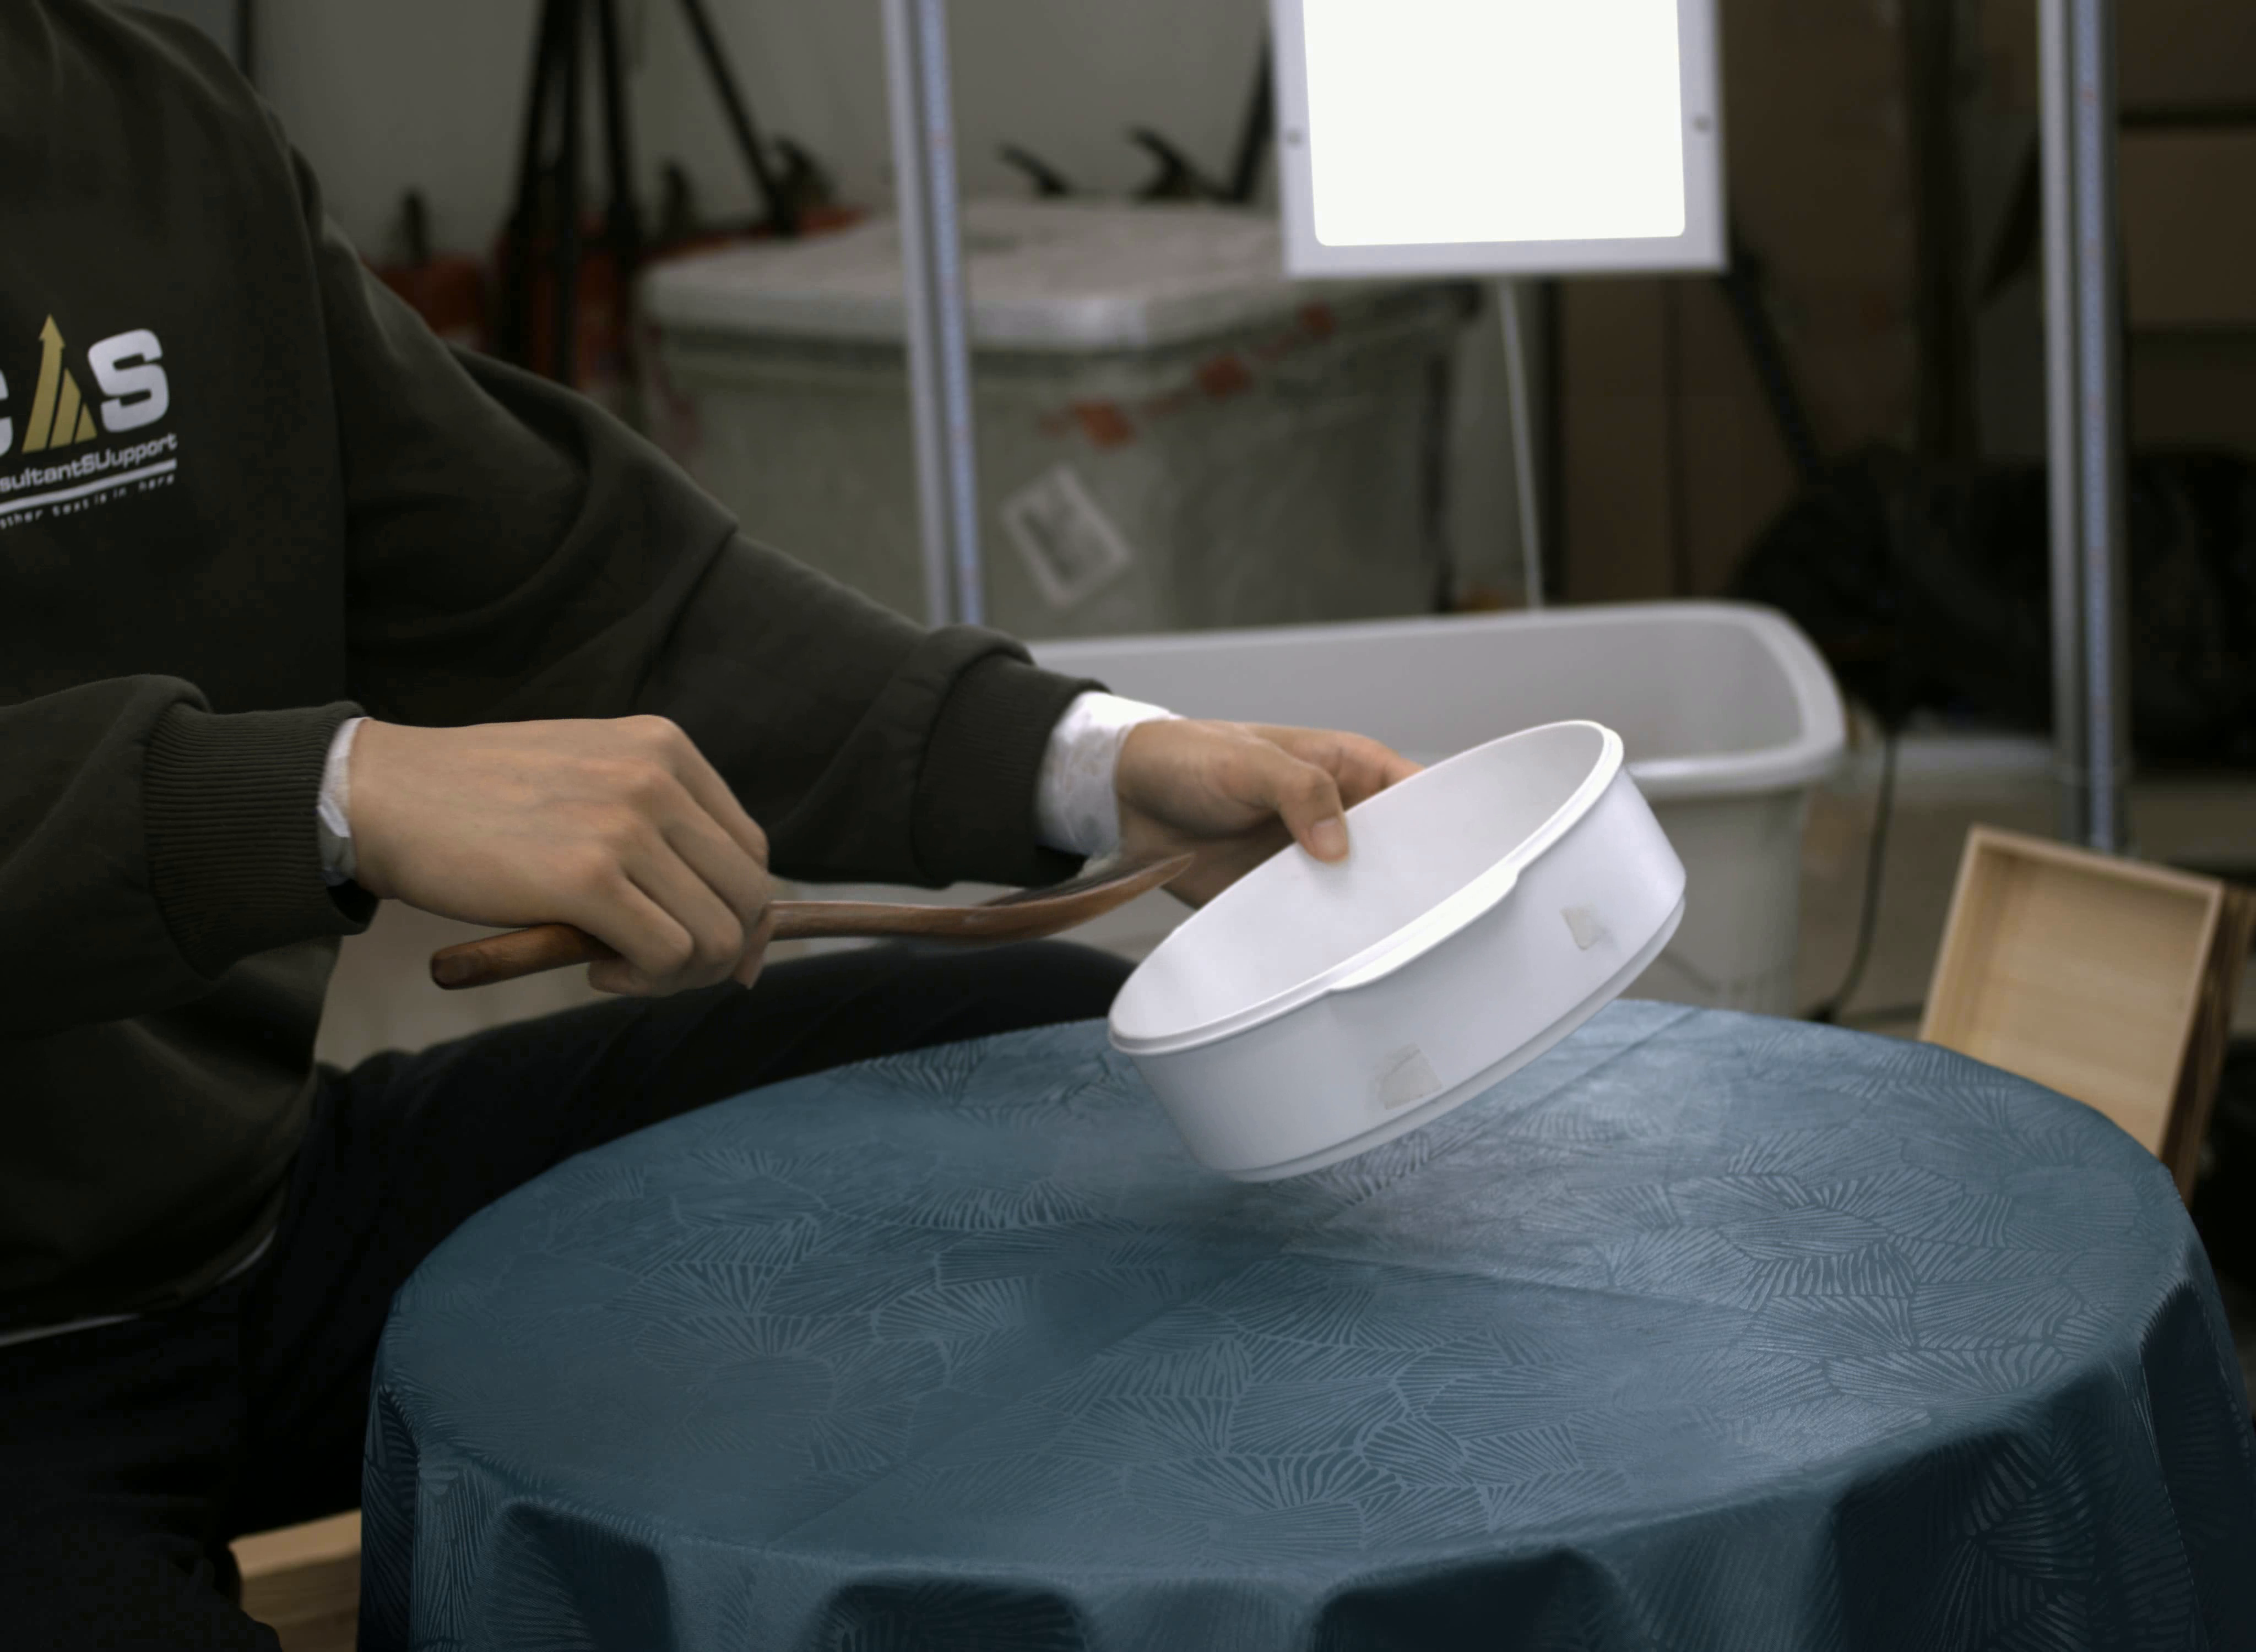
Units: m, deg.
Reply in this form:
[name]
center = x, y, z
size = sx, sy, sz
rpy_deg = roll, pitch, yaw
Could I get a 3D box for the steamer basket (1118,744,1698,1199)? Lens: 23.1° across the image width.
[steamer basket]
center = 0.098, 0.050, 1.851
size = 0.201, 0.069, 0.231
rpy_deg = -31, 5, -3

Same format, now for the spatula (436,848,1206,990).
[spatula]
center = -0.096, 0.032, 1.737
size = 0.087, 0.024, 0.376
rpy_deg = -10, -3, 30
